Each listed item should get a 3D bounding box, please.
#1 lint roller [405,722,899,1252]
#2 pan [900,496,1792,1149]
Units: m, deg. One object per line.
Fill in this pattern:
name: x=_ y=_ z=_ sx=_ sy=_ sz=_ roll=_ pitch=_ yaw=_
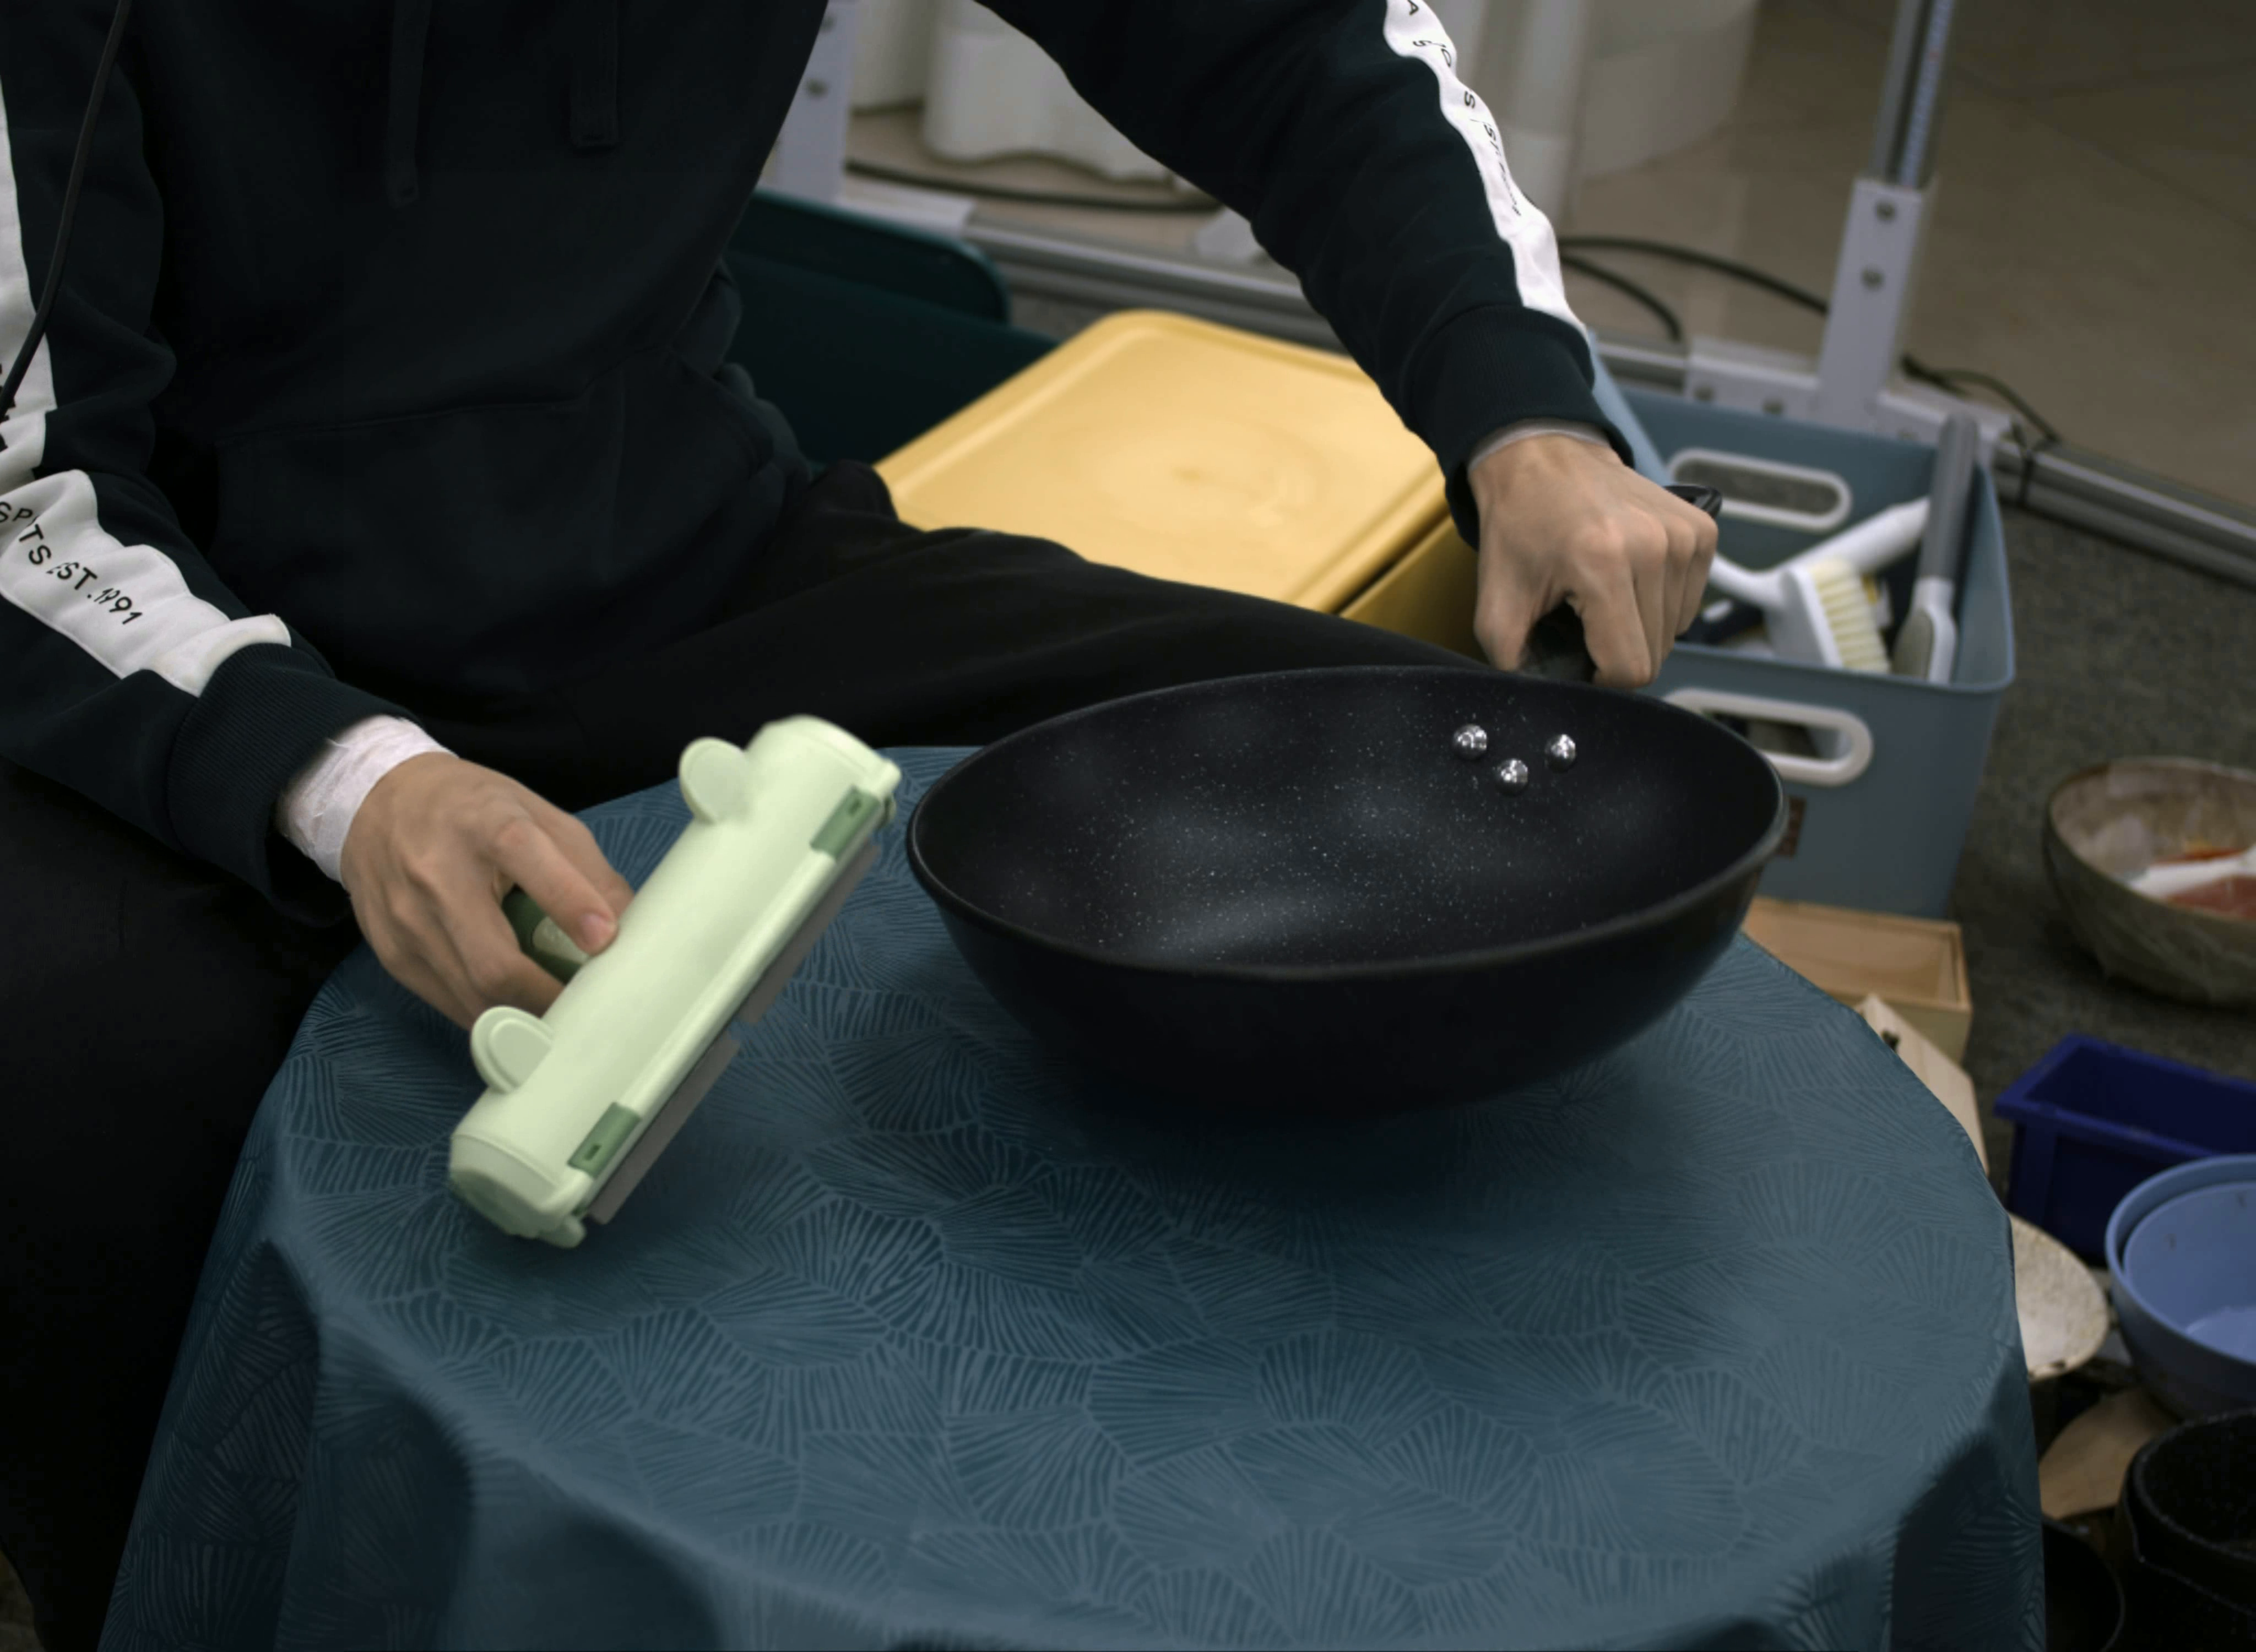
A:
lint roller: x=-0.193 y=0.034 z=1.778 sx=0.184 sy=0.081 sz=0.199 roll=17 pitch=60 yaw=40
pan: x=0.114 y=0.000 z=1.928 sx=0.311 sy=0.111 sz=0.476 roll=9 pitch=24 yaw=26
